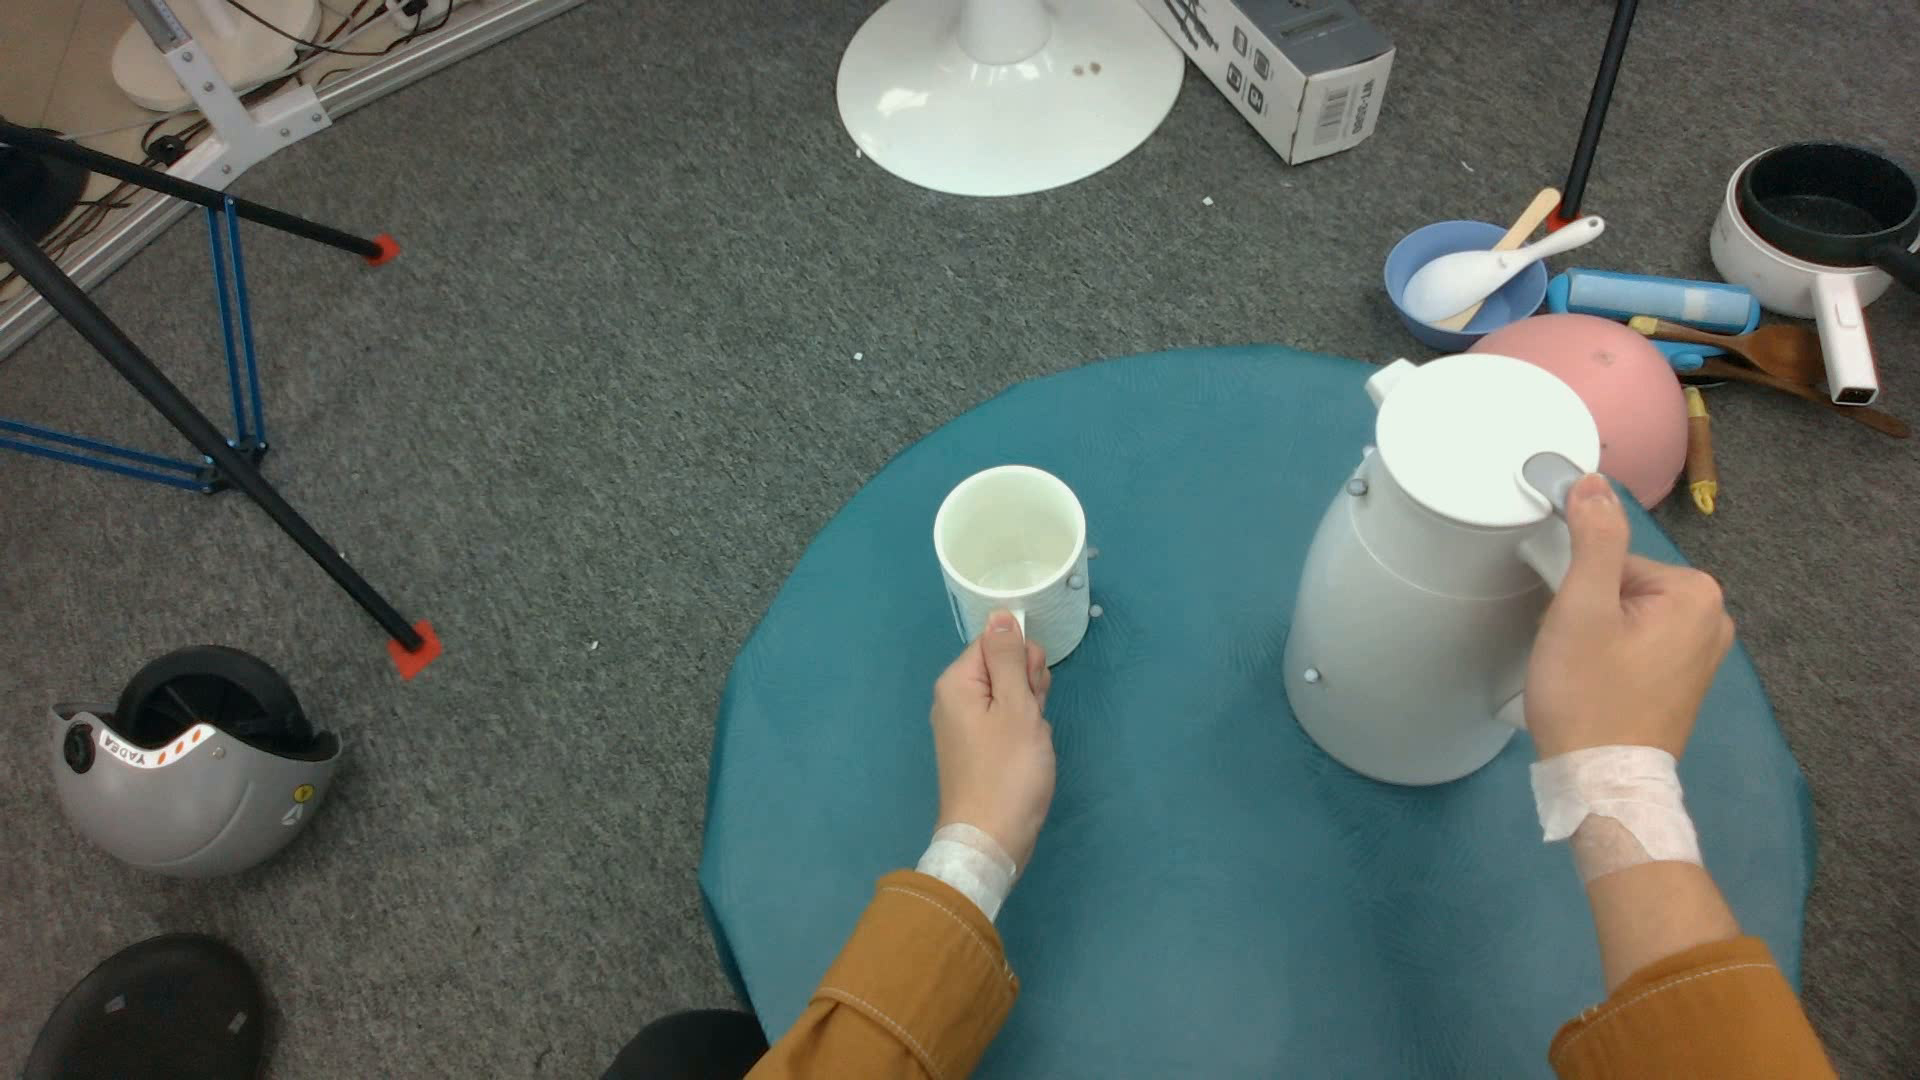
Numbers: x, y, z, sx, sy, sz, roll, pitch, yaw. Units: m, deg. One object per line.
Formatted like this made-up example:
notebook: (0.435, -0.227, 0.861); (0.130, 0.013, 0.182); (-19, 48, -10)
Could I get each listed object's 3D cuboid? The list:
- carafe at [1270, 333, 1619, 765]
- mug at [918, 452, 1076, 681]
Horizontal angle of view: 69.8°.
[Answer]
carafe: (0.246, 0.018, 0.690); (0.133, 0.247, 0.168); (-32, 61, -13)
mug: (0.025, 0.025, 0.797); (0.085, 0.101, 0.119); (-5, 59, 5)
